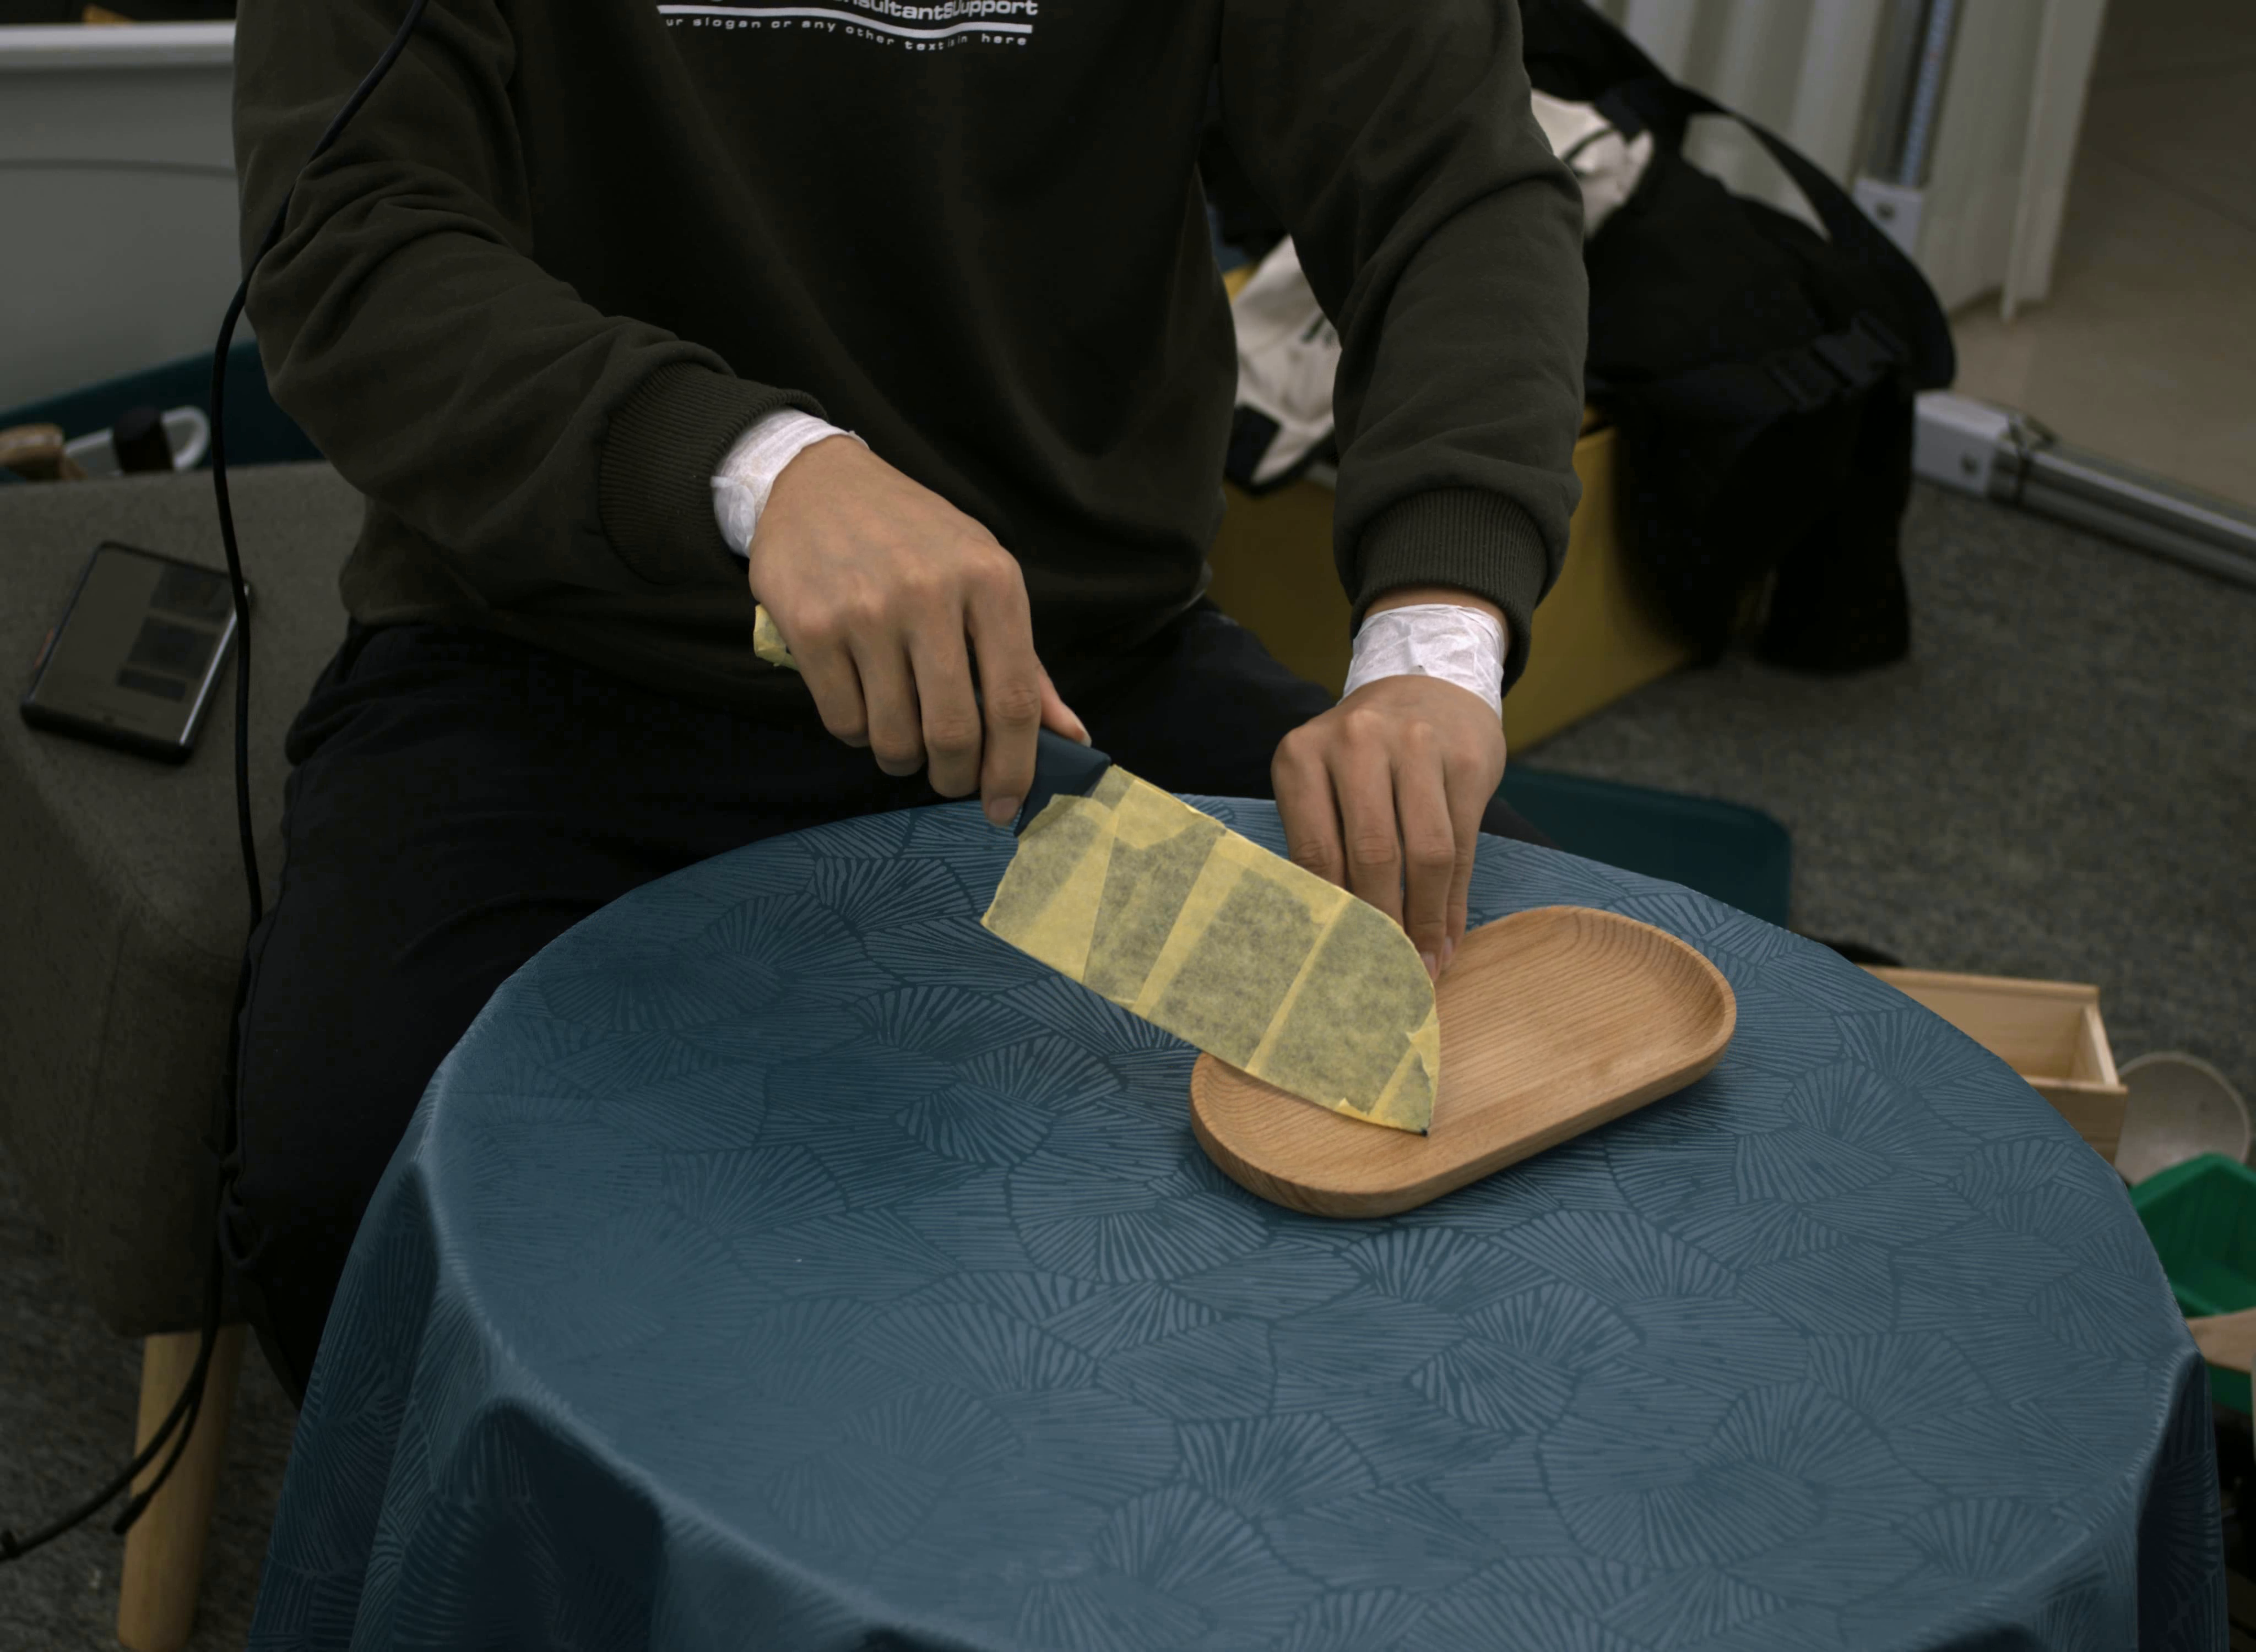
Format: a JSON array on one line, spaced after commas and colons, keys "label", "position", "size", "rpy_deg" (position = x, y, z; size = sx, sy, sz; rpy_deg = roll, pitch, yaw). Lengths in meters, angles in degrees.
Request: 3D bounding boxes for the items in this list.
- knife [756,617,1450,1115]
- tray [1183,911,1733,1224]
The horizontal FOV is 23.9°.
[{"label": "knife", "position": [-0.013, 0.014, 1.853], "size": [0.290, 0.081, 0.027], "rpy_deg": [32, 1, 8]}, {"label": "tray", "position": [0.118, 0.084, 1.874], "size": [0.230, 0.020, 0.102], "rpy_deg": [-22, 42, -36]}]
